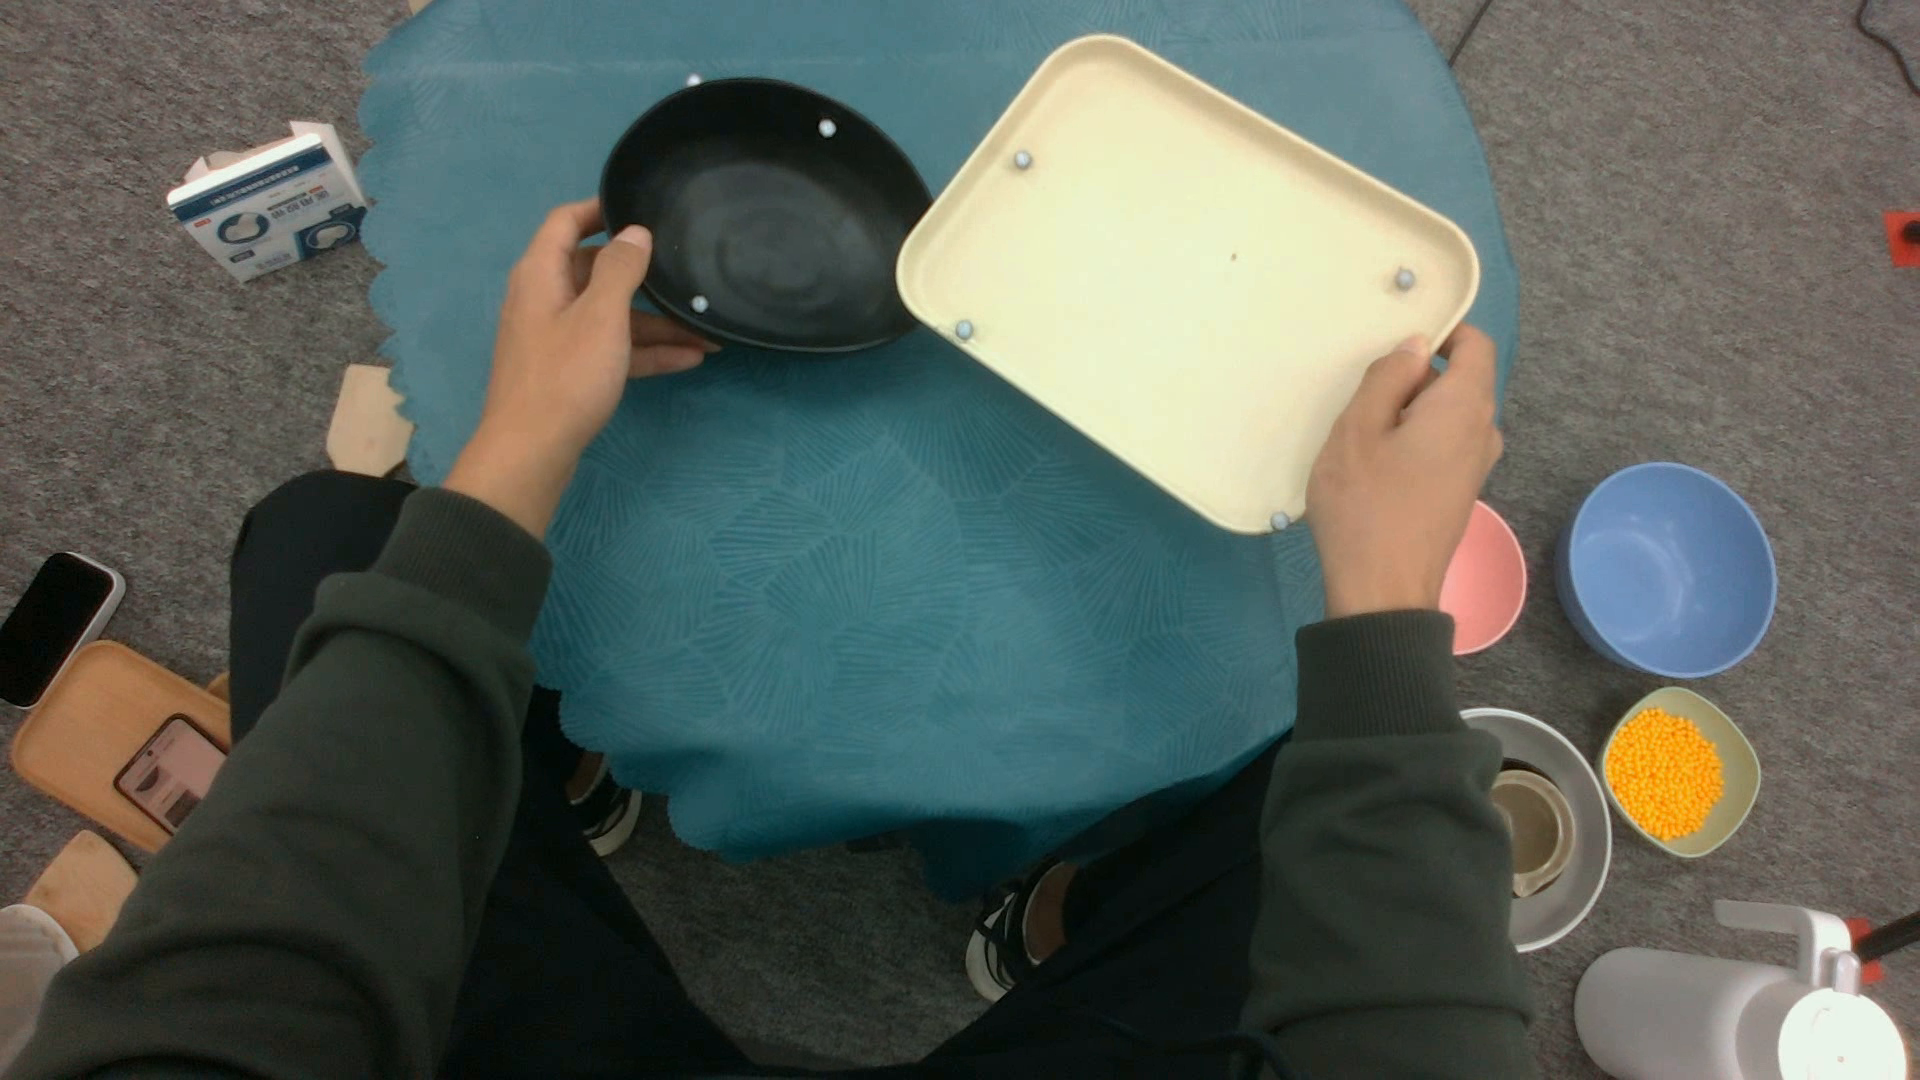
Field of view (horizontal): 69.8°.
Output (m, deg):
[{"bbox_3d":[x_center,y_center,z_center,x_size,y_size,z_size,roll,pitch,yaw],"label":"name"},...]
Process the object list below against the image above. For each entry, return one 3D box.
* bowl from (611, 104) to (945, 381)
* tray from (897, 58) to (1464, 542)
[{"bbox_3d":[-0.091,-0.143,0.705,0.170,0.066,0.137,16,76,-10],"label":"bowl"},{"bbox_3d":[0.099,-0.119,0.657,0.240,0.017,0.171,36,87,21],"label":"tray"}]
